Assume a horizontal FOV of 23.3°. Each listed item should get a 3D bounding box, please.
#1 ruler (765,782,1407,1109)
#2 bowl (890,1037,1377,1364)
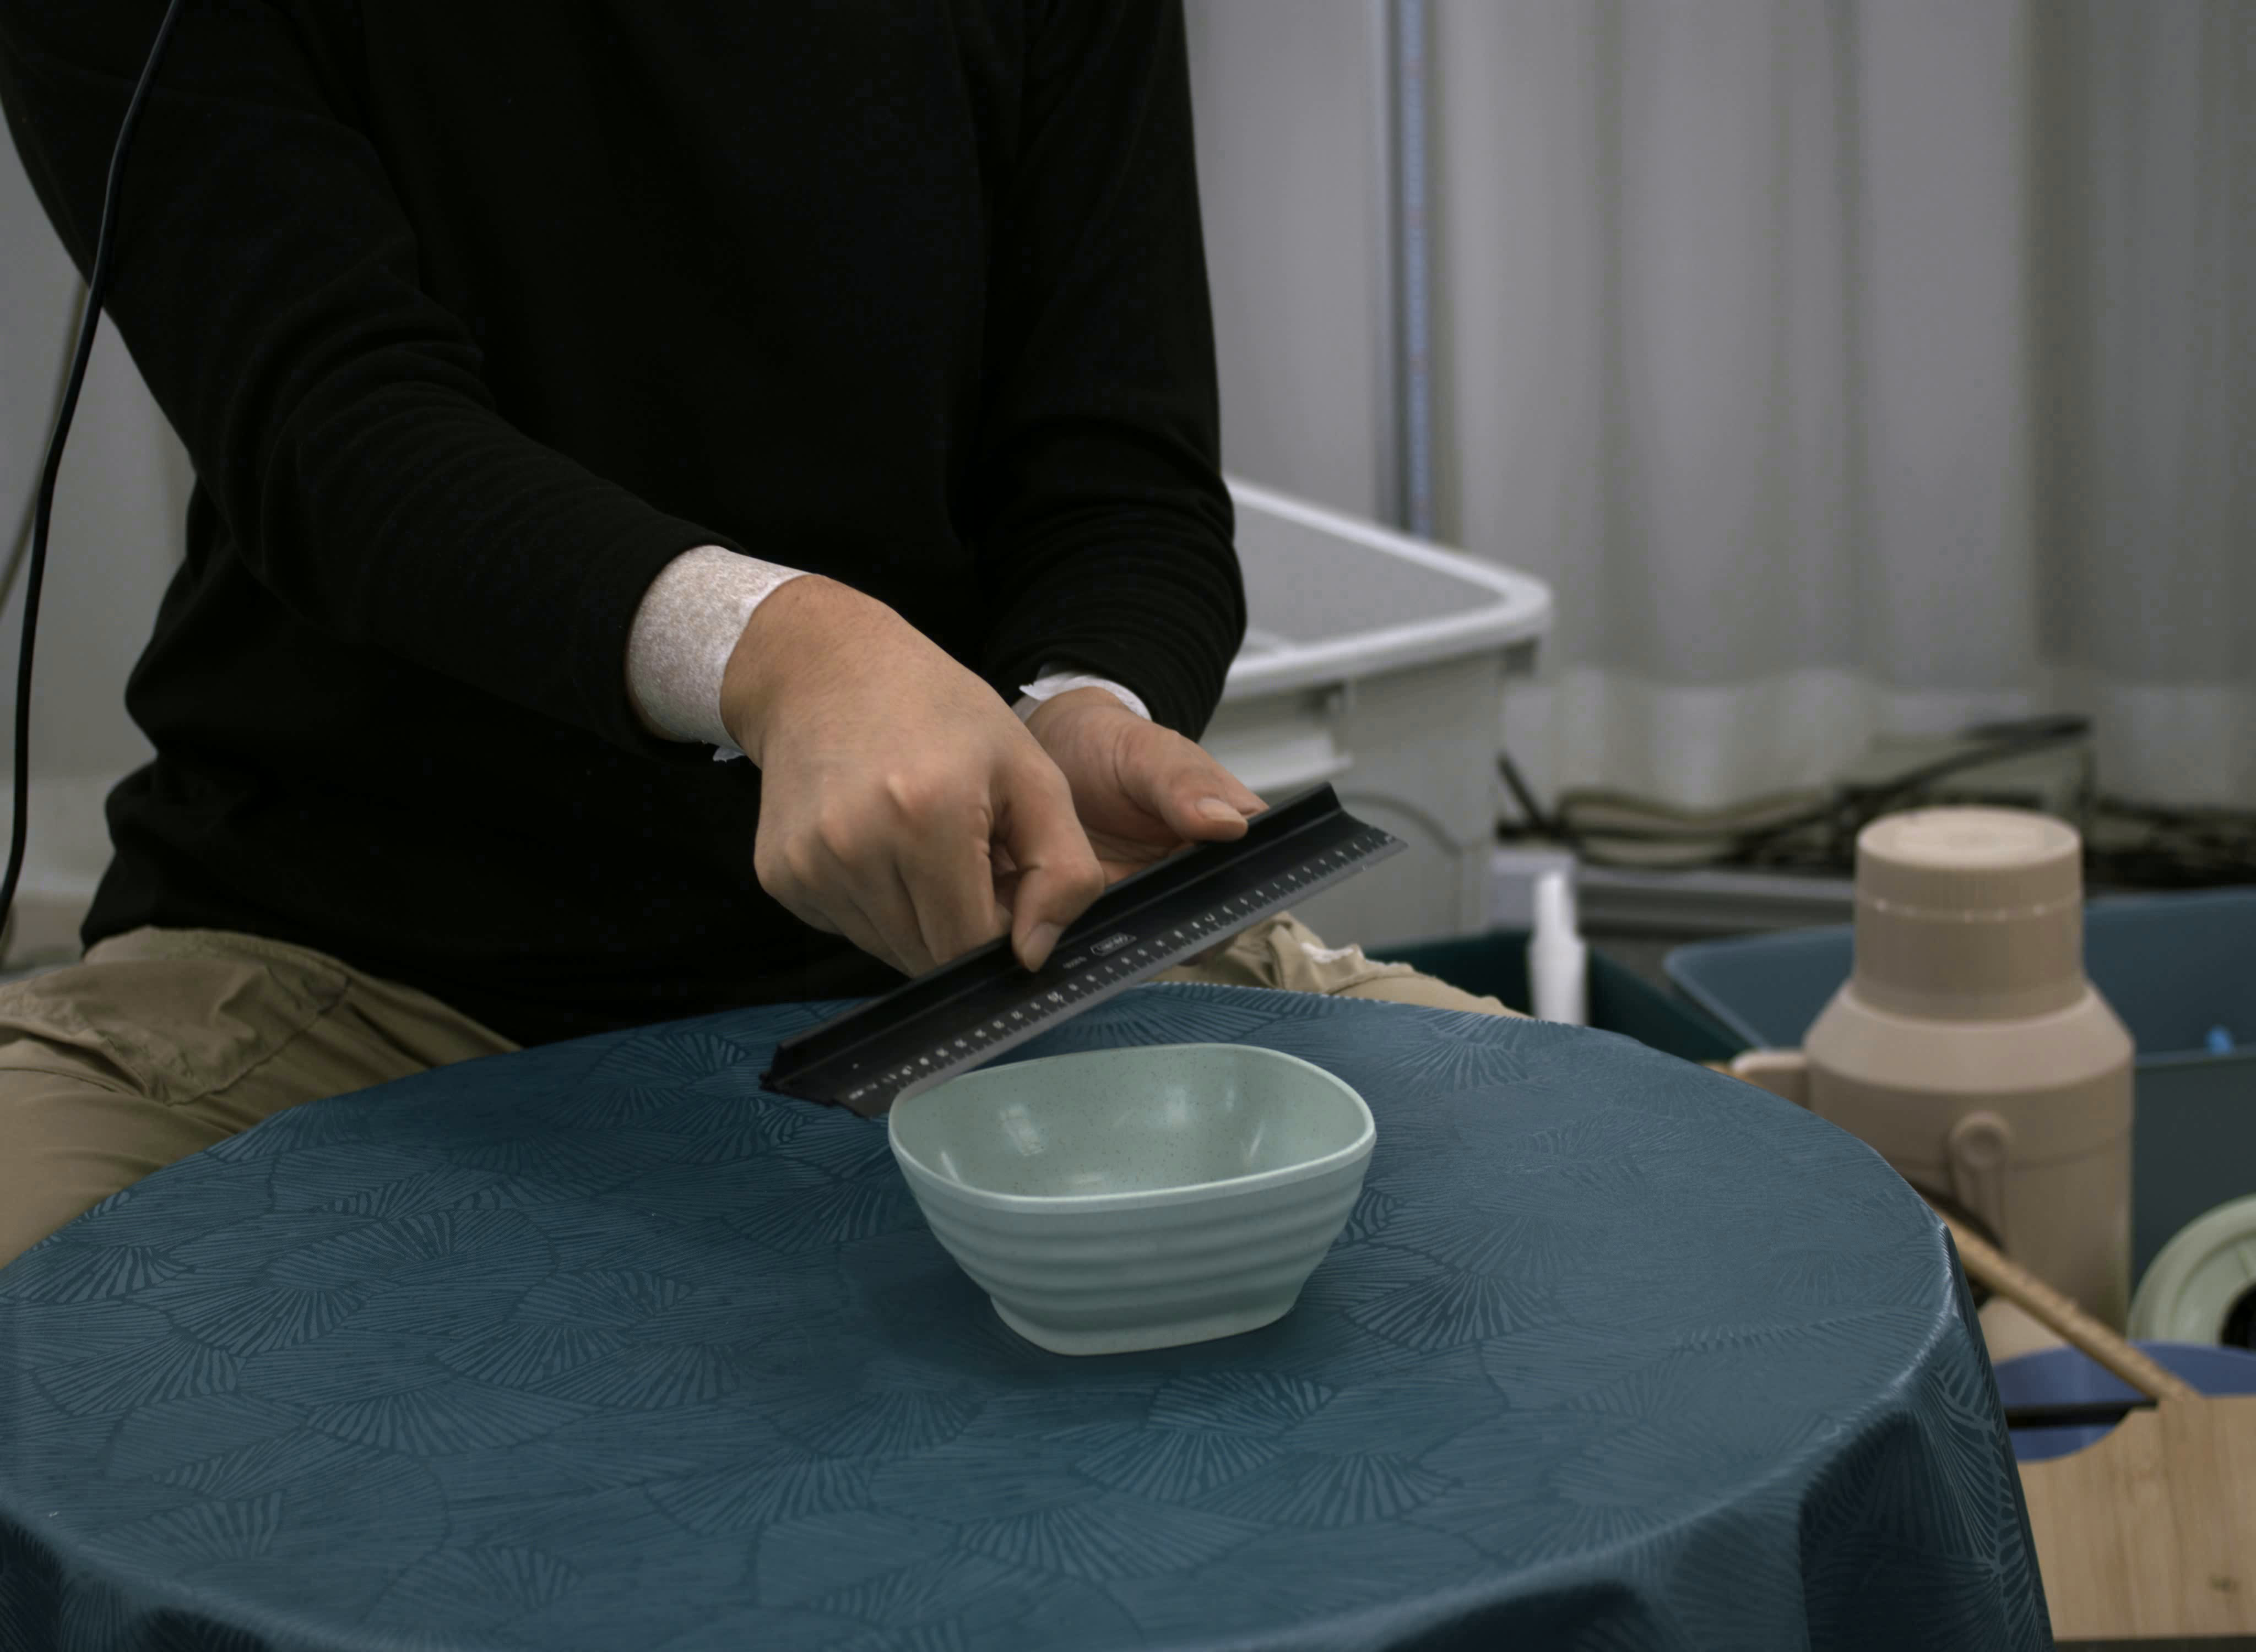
[{"bbox_3d":[-0.005,0.032,1.641,0.039,0.017,0.313,17,22,28],"label":"ruler"},{"bbox_3d":[0.002,0.114,1.610,0.151,0.058,0.152,-3,17,1],"label":"bowl"}]
